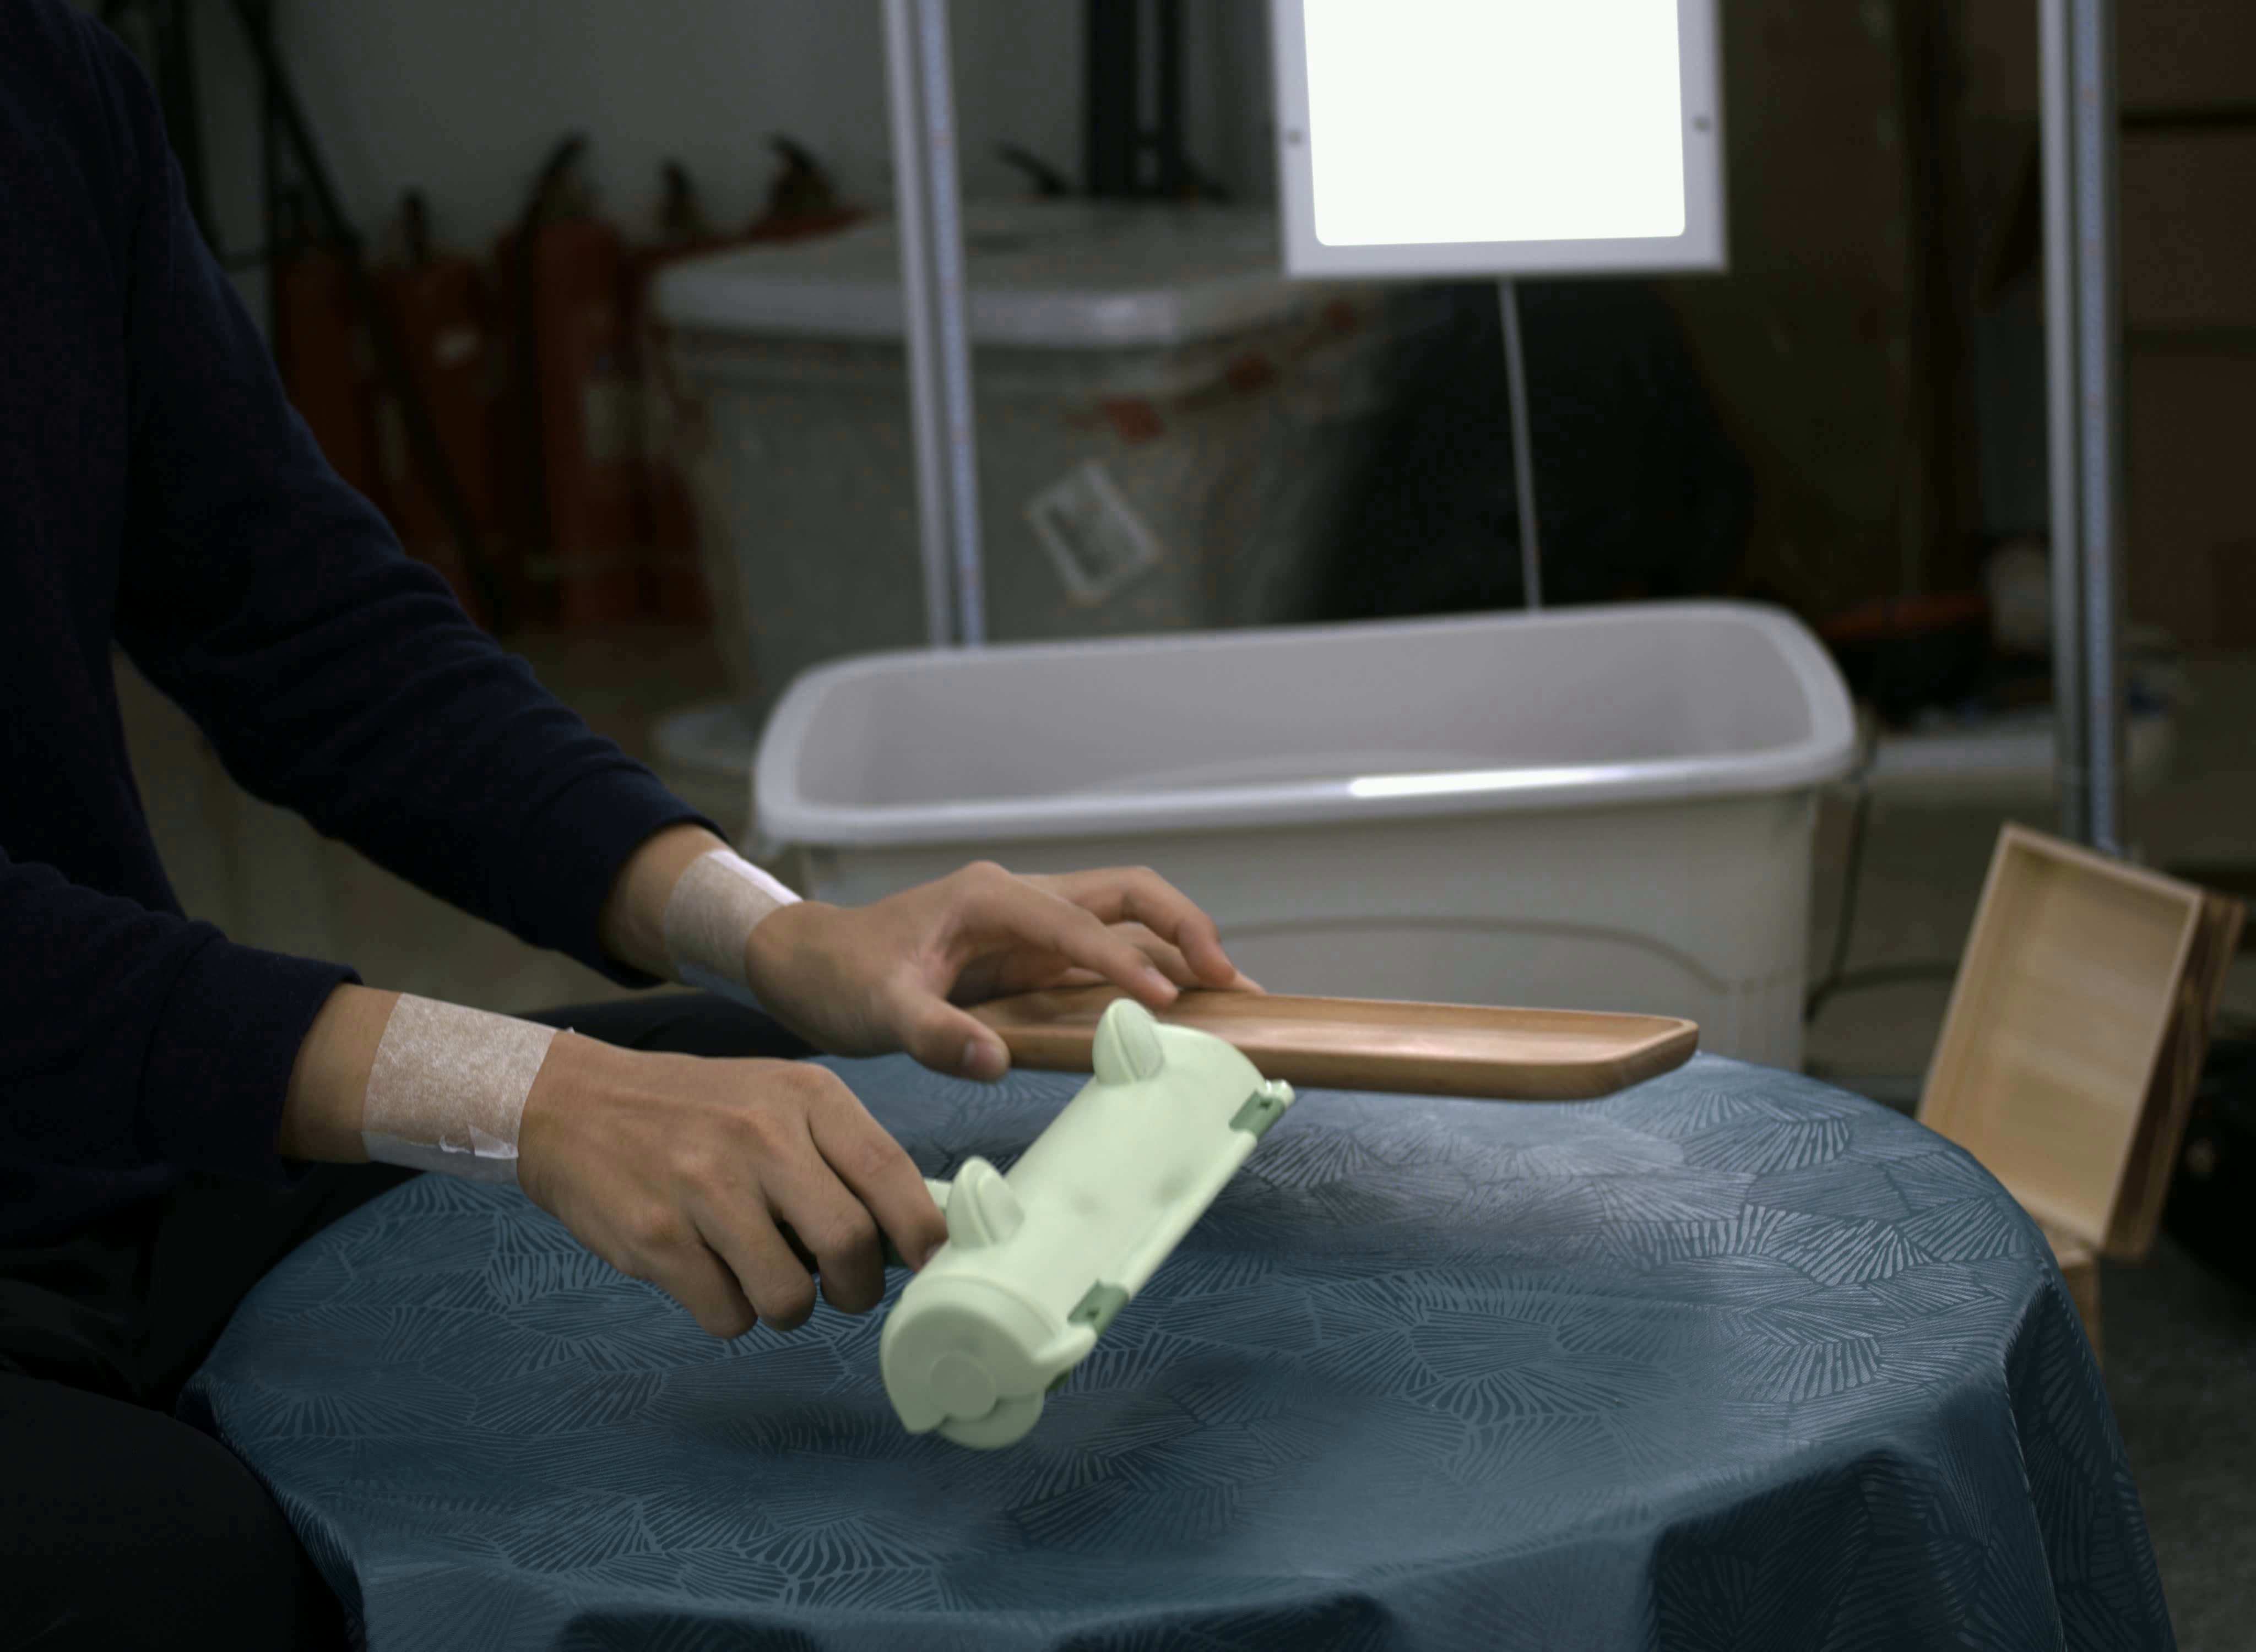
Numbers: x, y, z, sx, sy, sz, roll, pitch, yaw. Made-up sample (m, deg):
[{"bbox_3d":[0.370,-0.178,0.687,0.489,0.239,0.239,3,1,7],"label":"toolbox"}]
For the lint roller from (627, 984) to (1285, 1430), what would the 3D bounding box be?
[{"bbox_3d":[-0.067,0.099,1.660,0.185,0.083,0.195,10,25,19],"label":"lint roller"}]

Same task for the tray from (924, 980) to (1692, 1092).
[{"bbox_3d":[0.061,0.070,1.871,0.255,0.023,0.128,1,2,27],"label":"tray"}]
